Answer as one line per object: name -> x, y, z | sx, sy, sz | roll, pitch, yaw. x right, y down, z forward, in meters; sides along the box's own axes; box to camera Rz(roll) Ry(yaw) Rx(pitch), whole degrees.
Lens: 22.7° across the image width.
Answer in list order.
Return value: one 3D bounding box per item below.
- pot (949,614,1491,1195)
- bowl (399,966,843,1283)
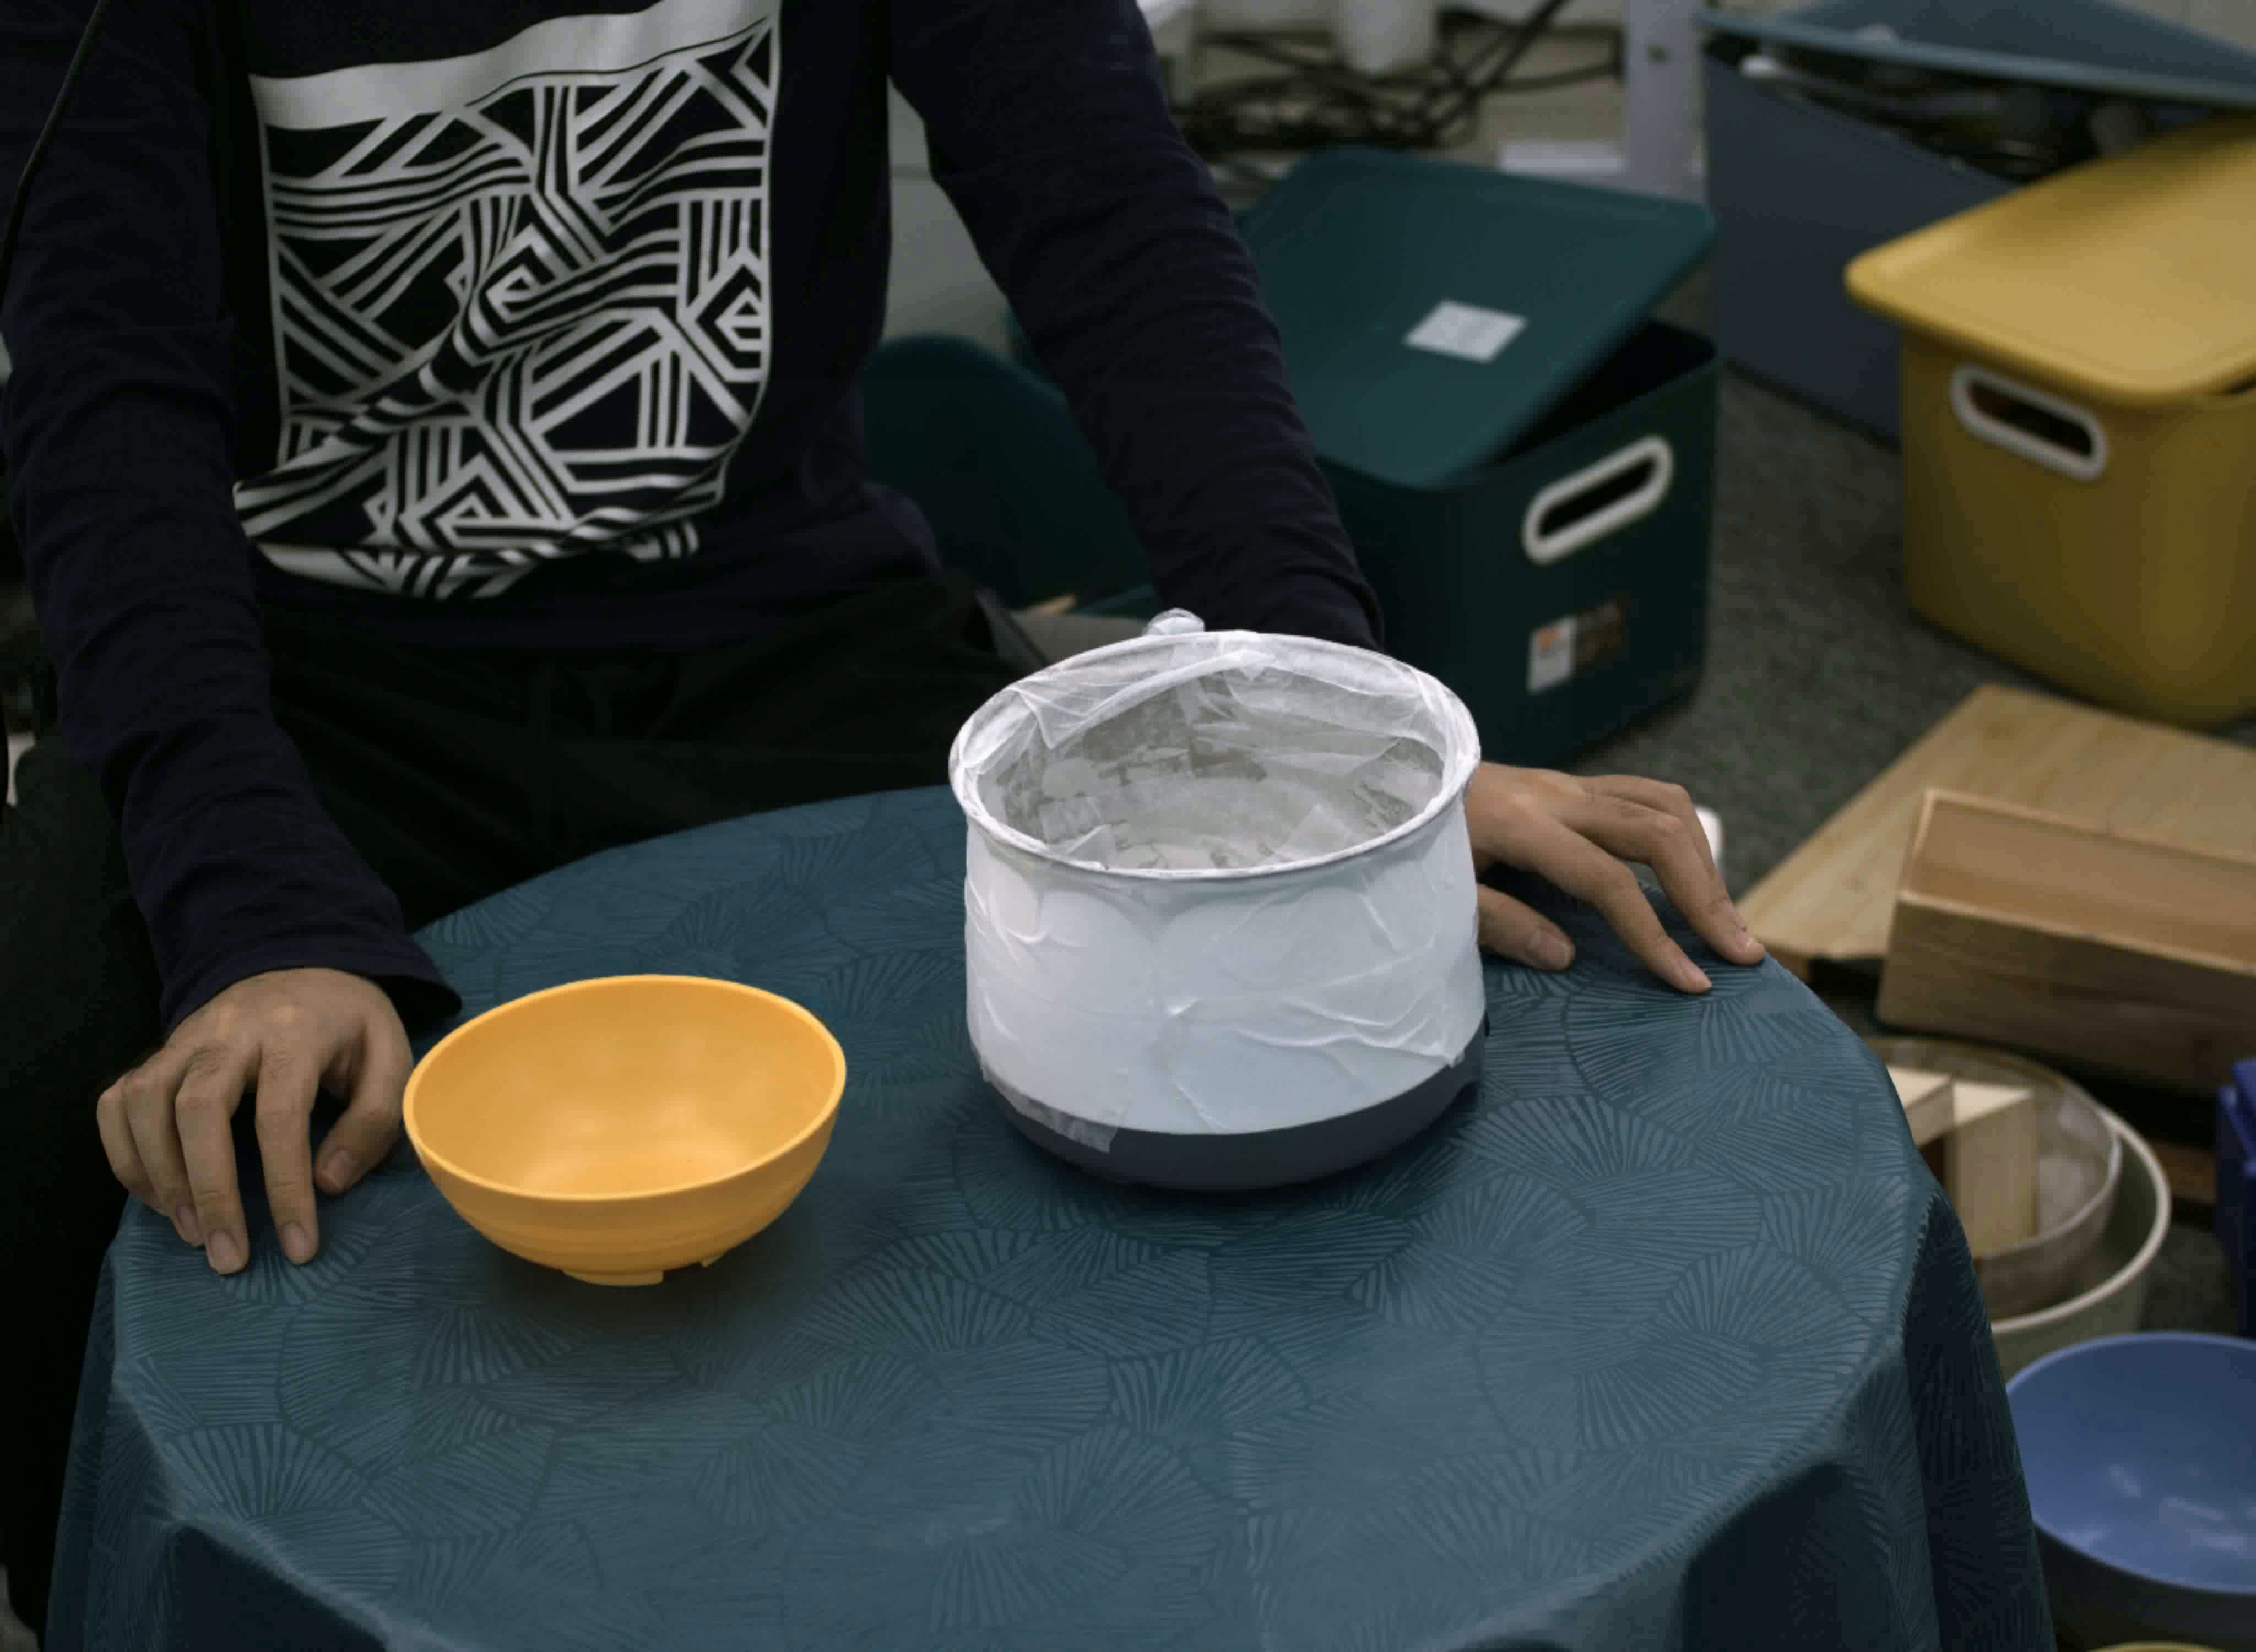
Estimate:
pot -> 0.029, 0.020, 1.914 | 0.178, 0.135, 0.236 | -6, 26, -6
bowl -> -0.164, 0.107, 1.837 | 0.144, 0.059, 0.147 | -1, 28, 1
